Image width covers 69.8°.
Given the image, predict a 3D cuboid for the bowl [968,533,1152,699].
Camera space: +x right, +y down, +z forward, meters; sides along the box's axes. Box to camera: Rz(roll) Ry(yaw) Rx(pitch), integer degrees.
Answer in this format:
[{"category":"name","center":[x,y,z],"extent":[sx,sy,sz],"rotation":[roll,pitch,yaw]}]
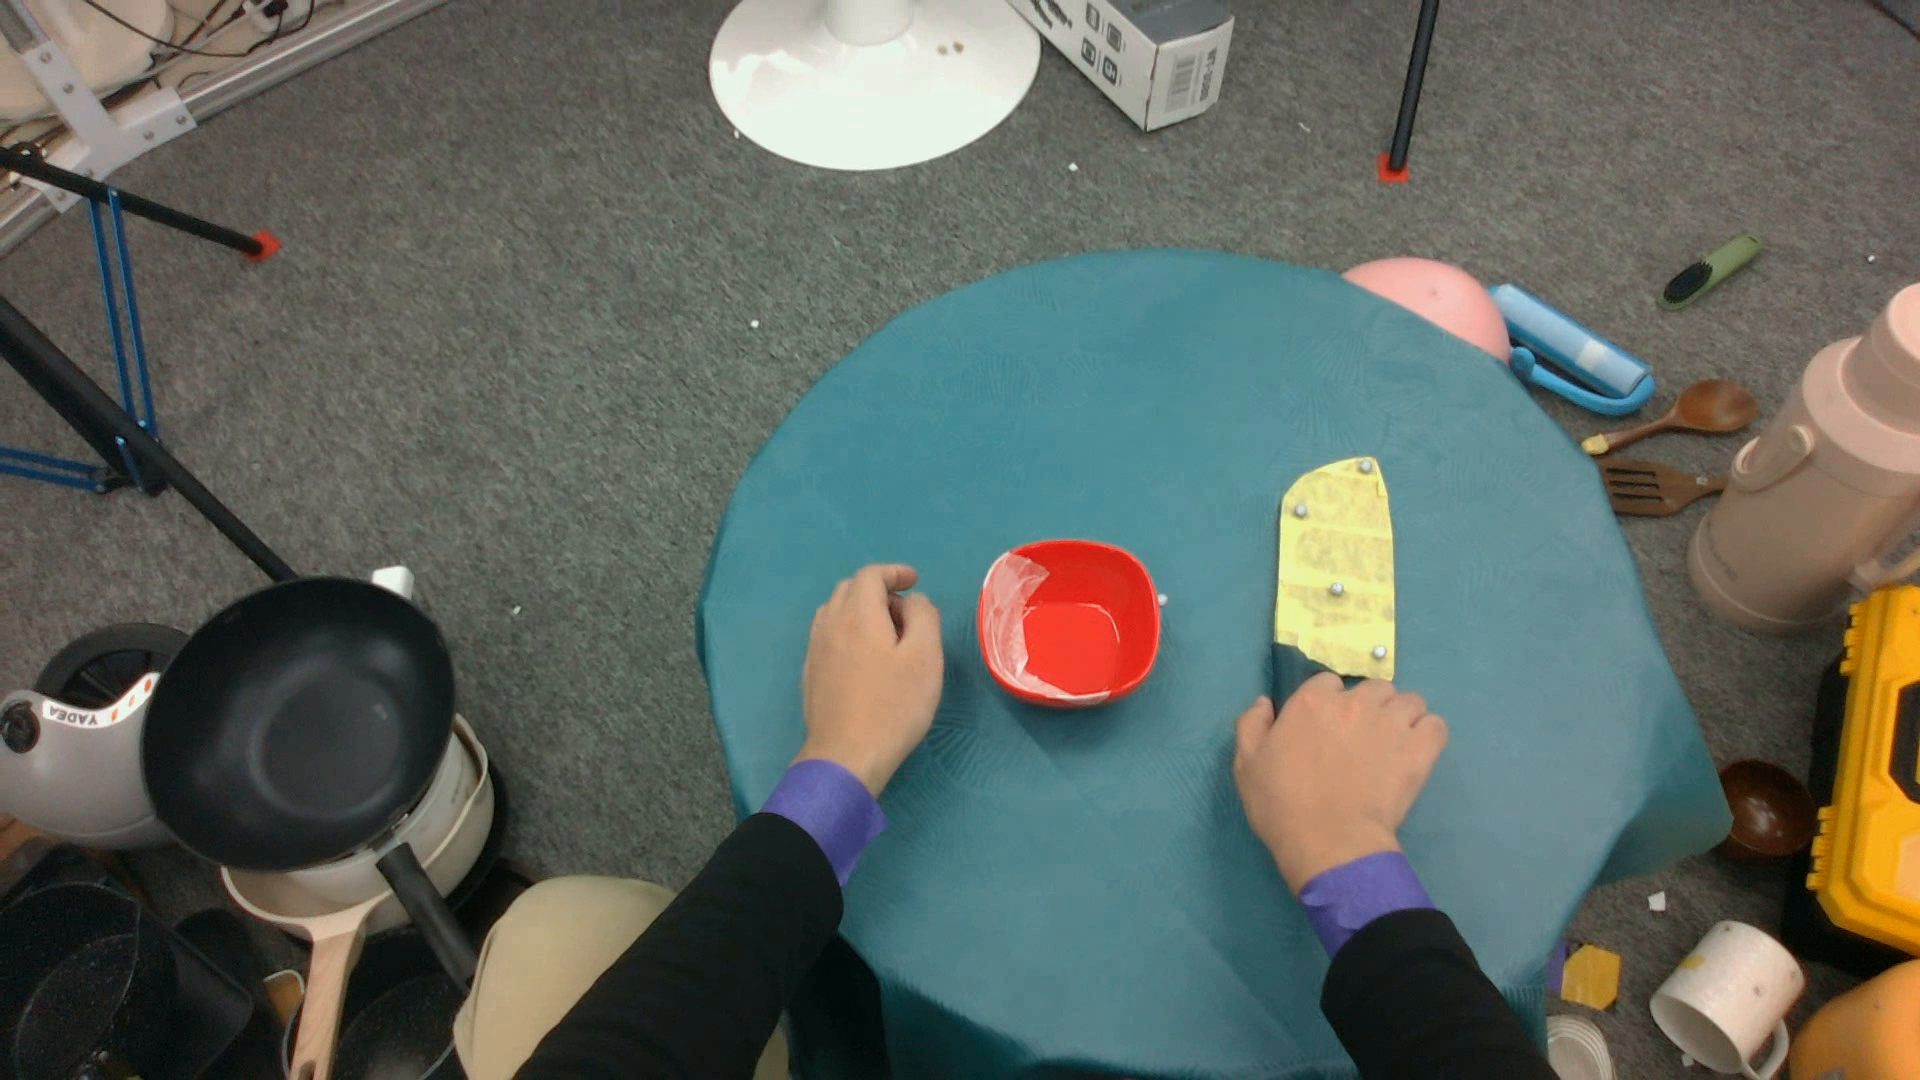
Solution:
[{"category":"bowl","center":[0.060,0.054,0.844],"extent":[0.119,0.051,0.119],"rotation":[0,55,1]}]

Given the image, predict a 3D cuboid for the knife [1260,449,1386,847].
[{"category":"knife","center":[0.225,0.056,0.858],"extent":[0.081,0.027,0.291],"rotation":[10,57,7]}]
